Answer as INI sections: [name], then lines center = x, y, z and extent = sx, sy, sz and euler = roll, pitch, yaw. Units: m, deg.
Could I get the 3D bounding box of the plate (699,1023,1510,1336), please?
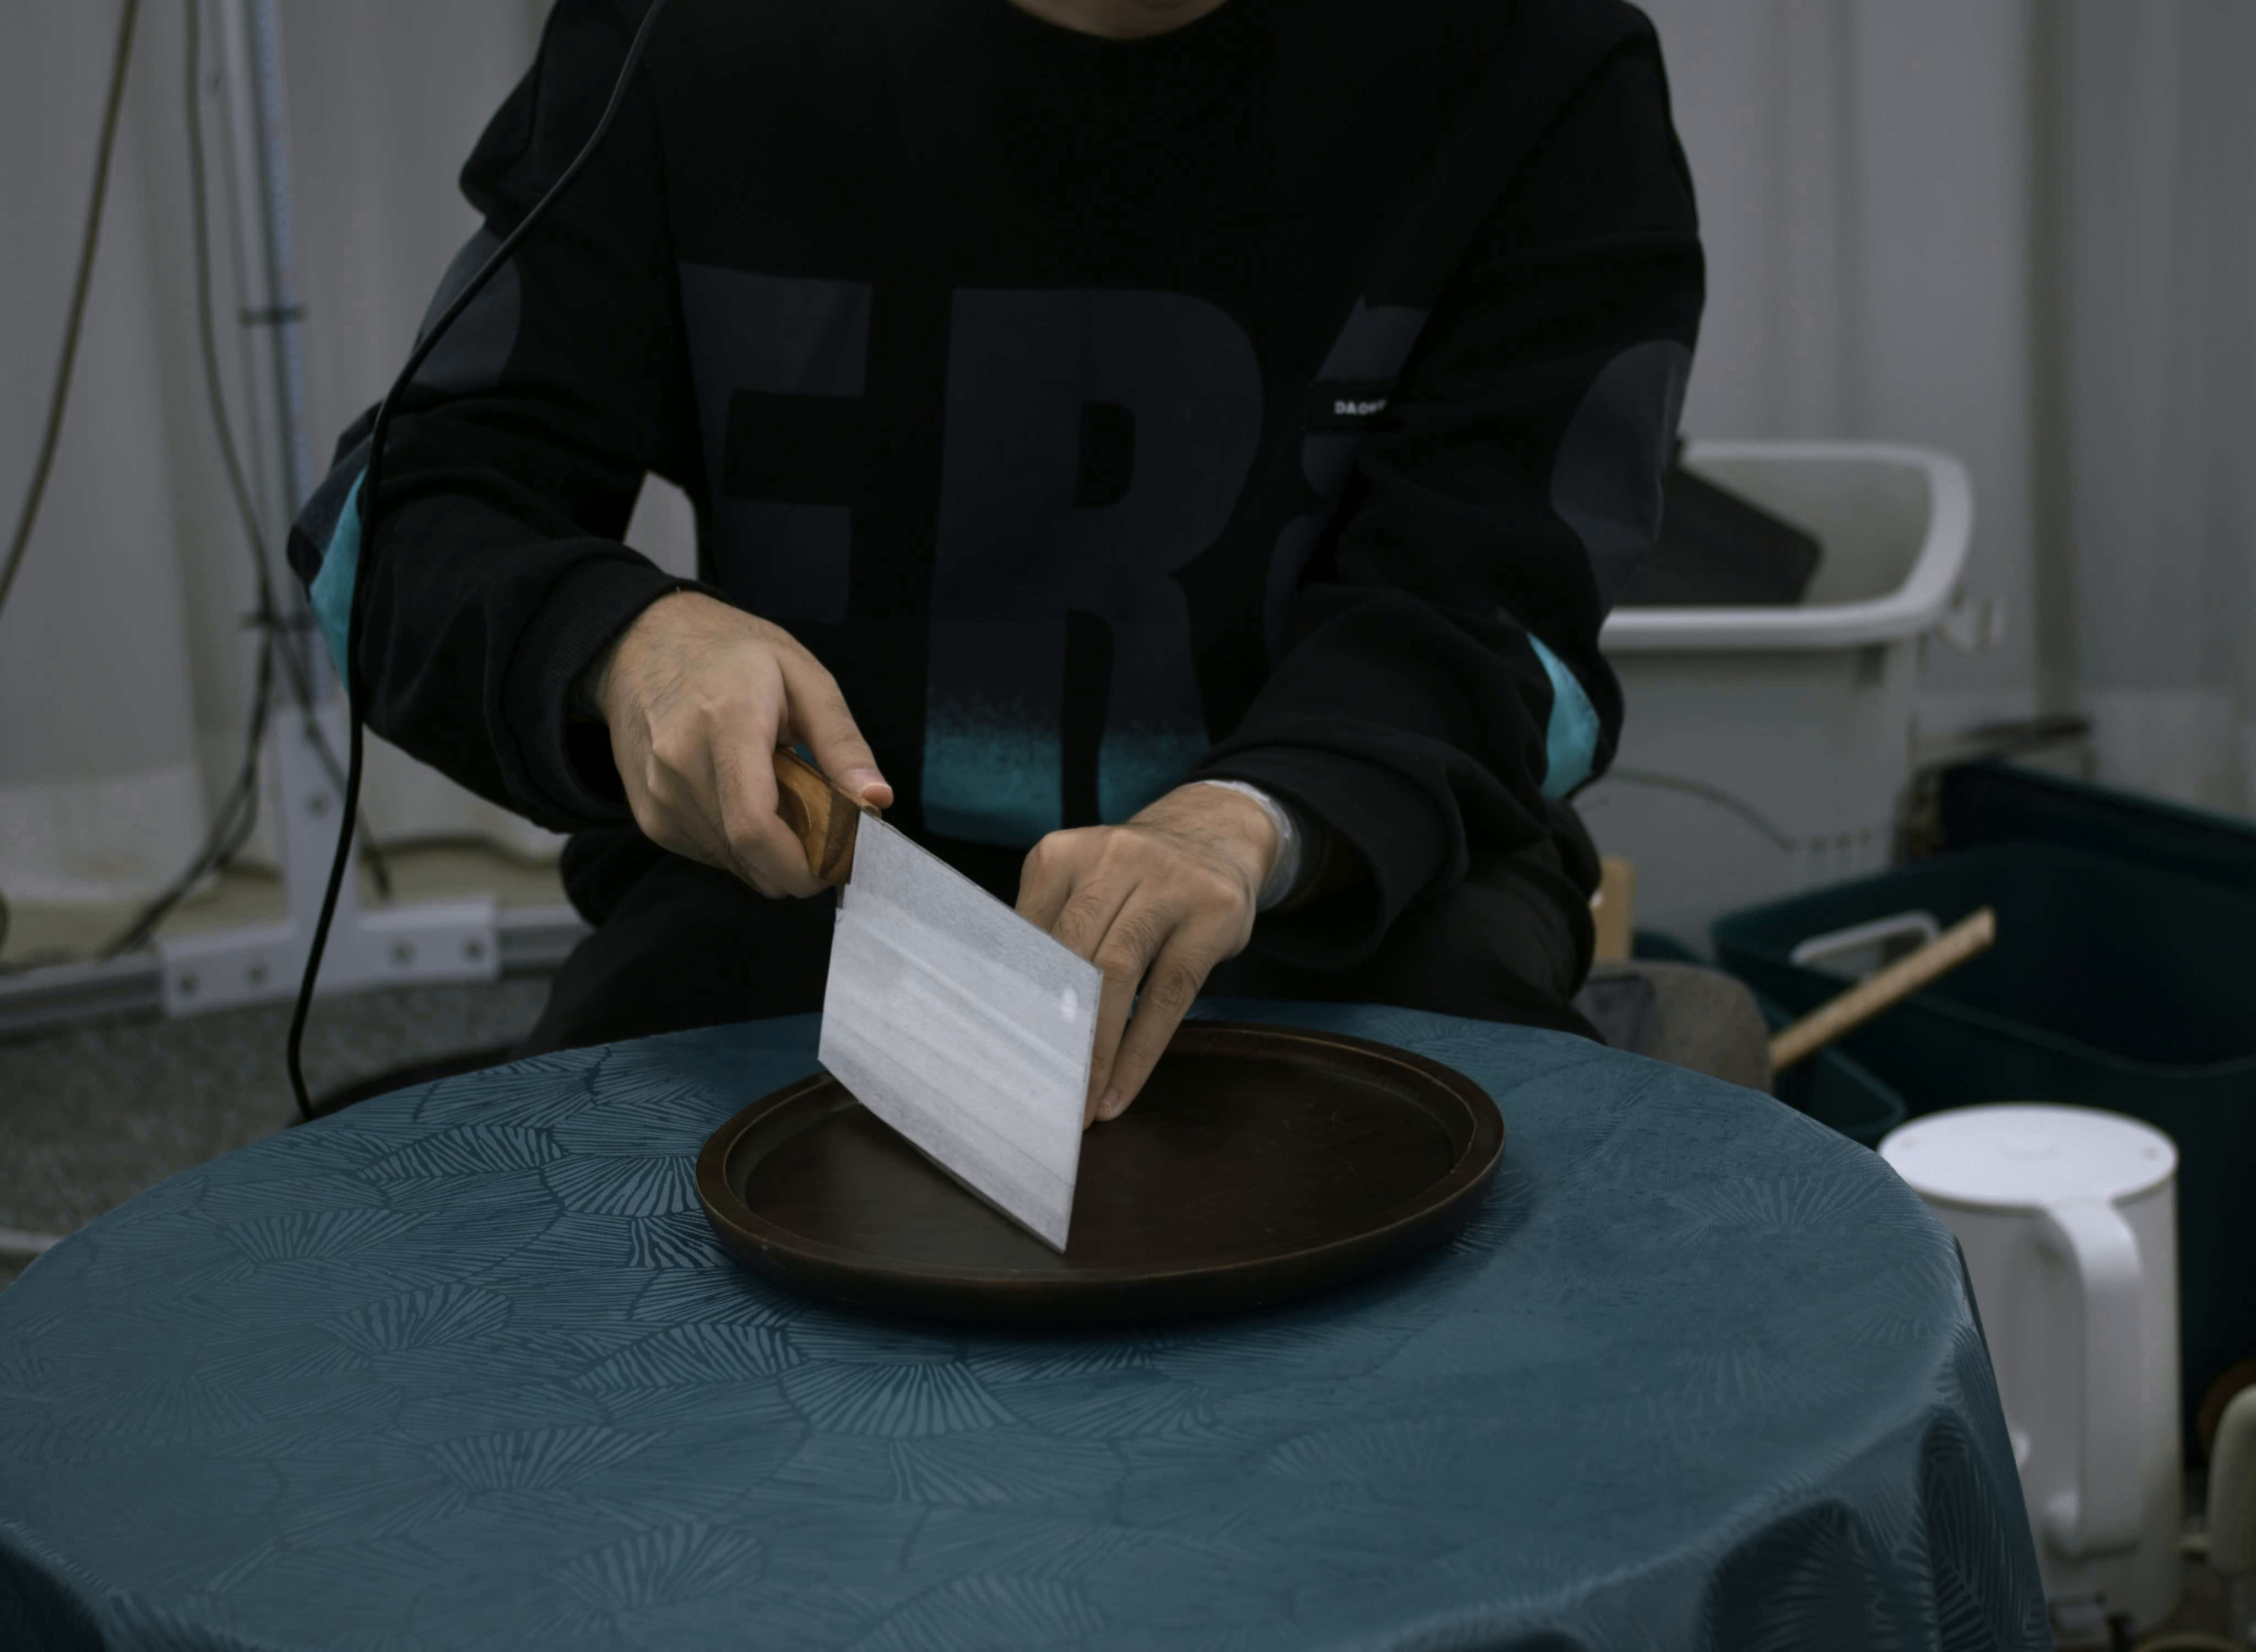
[plate]
center = -0.007, 0.107, 1.698
extent = 0.254, 0.029, 0.256
euler = -2, 15, 0

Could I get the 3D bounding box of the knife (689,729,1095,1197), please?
[knife]
center = -0.079, 0.043, 1.744
extent = 0.021, 0.092, 0.308
euler = 1, 15, -27
